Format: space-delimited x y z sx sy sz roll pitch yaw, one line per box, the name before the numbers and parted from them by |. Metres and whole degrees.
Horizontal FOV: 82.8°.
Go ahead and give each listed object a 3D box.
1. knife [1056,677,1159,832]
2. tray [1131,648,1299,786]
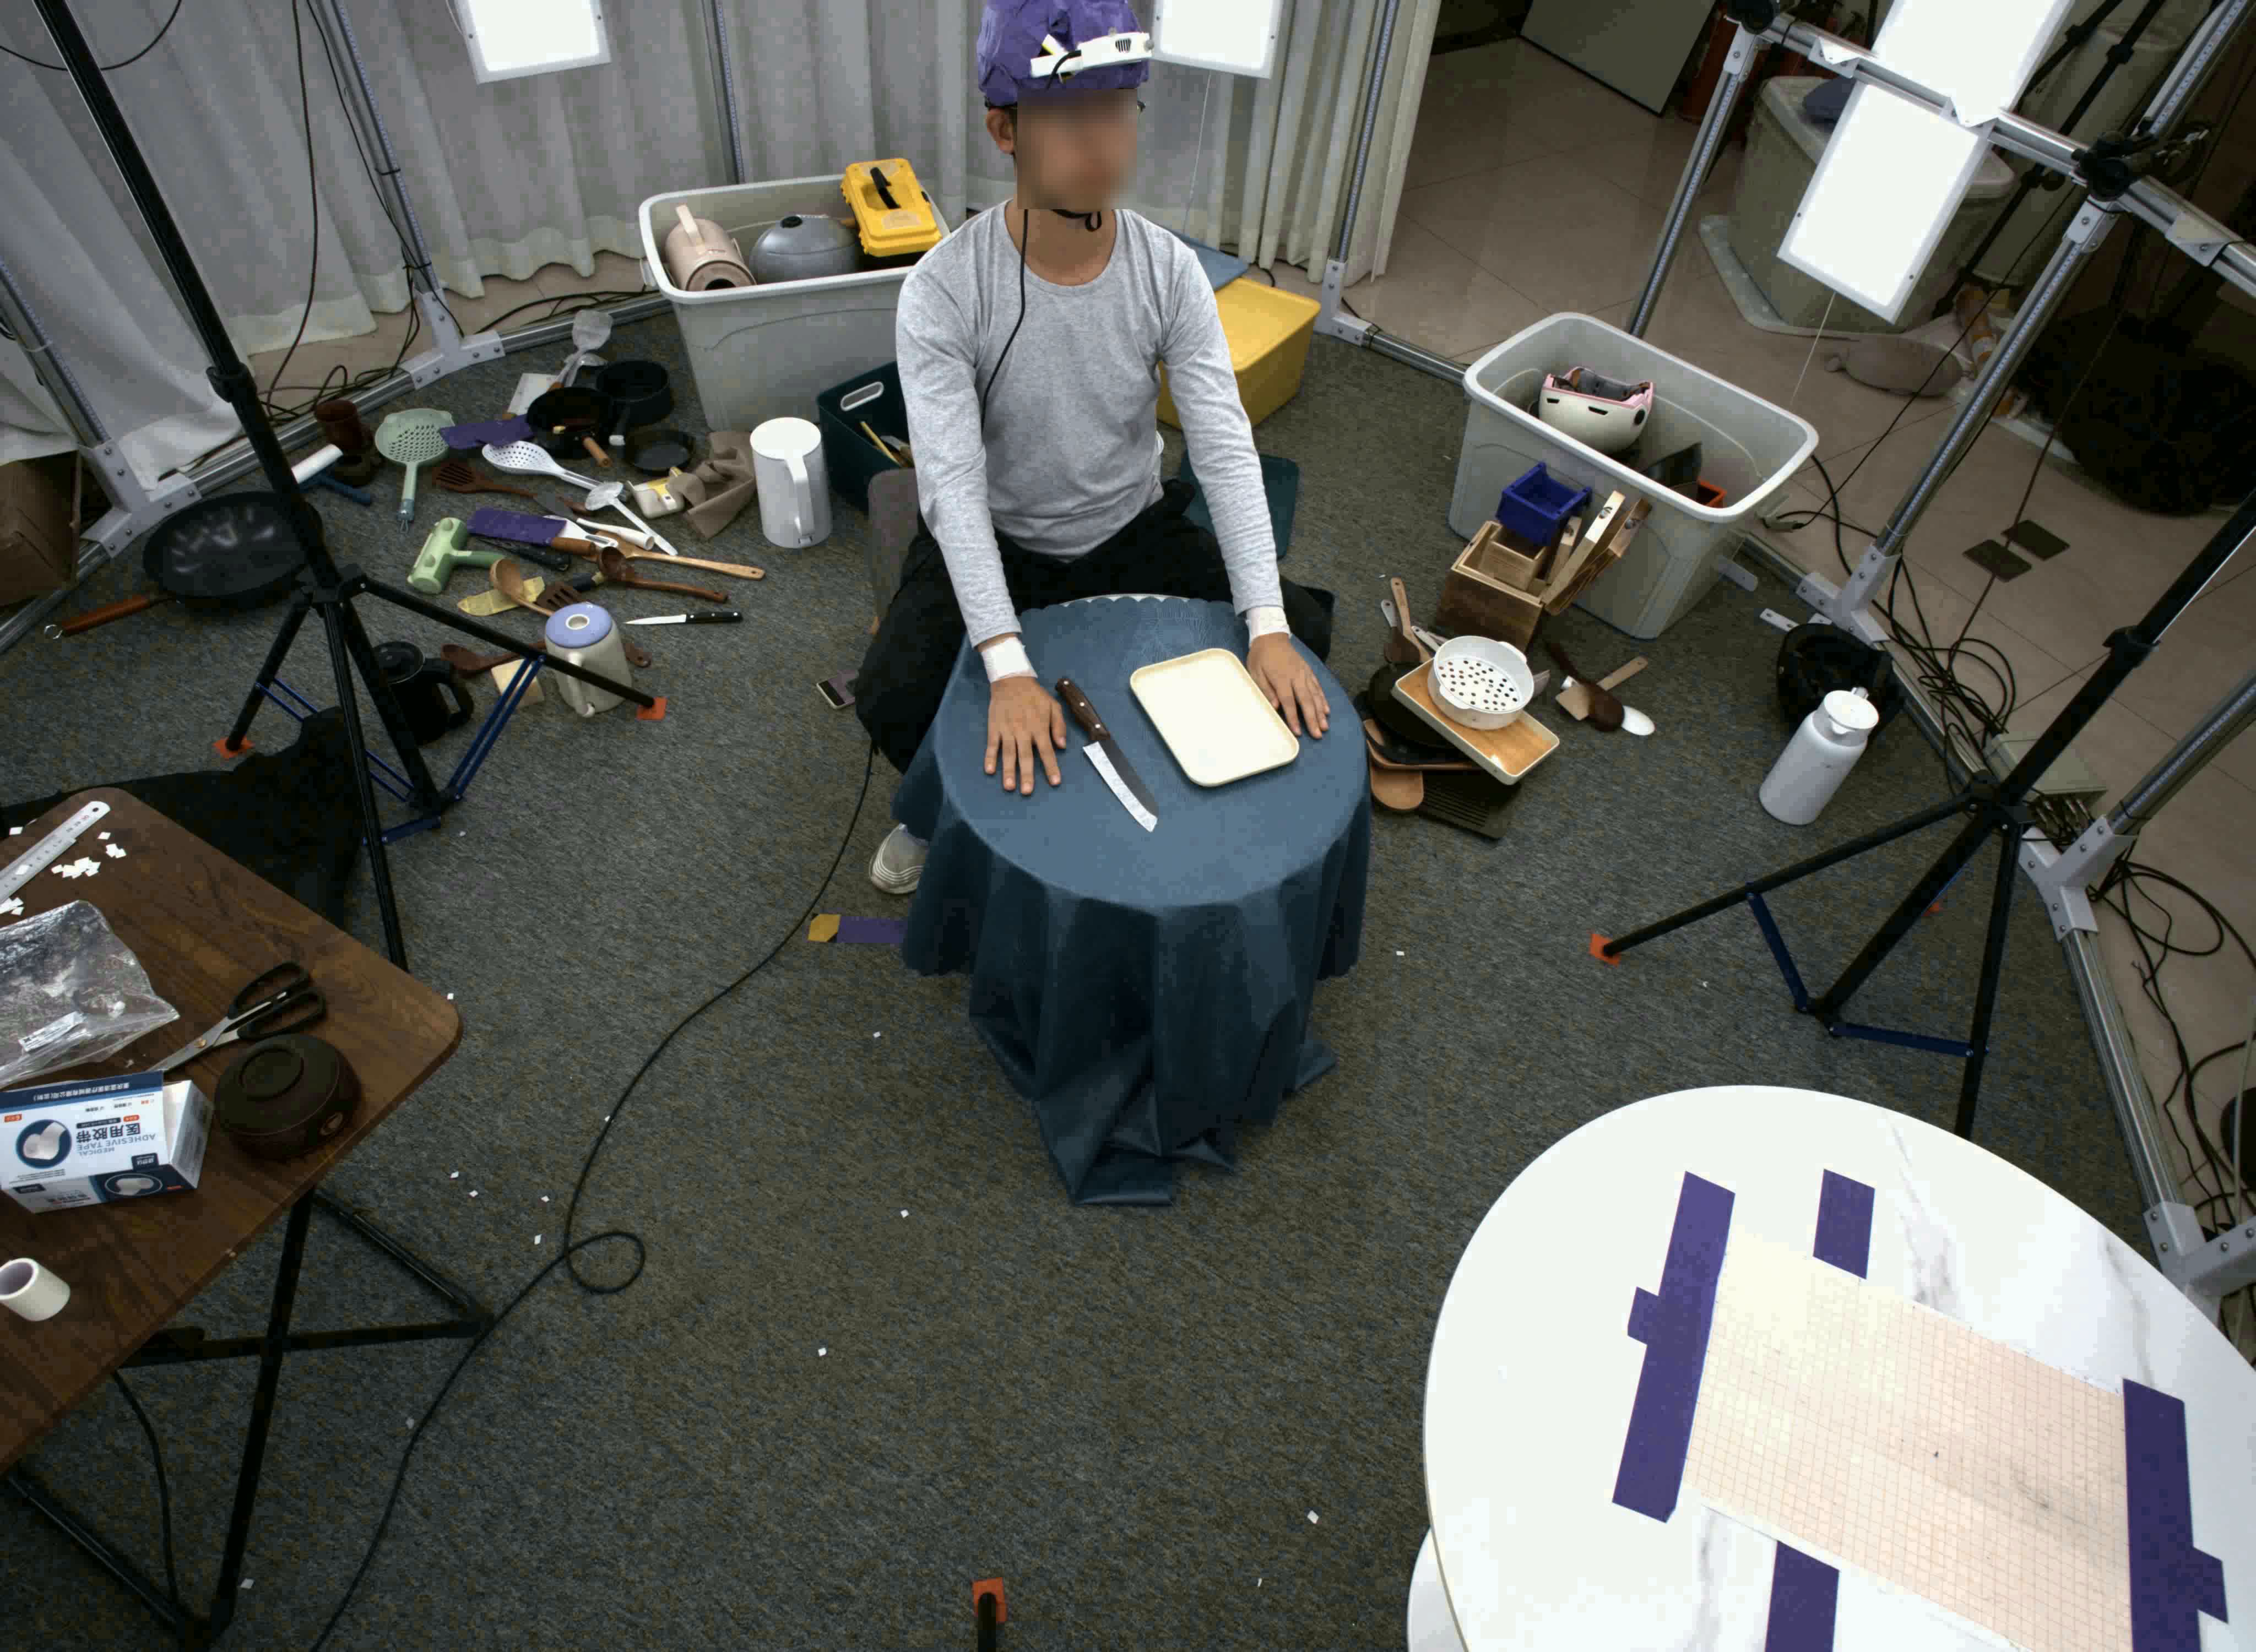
knife | -0.030 -0.100 1.742 0.050 0.019 0.295 -21 56 -15
tray | 0.119 -0.154 1.798 0.171 0.017 0.245 -16 52 -18
